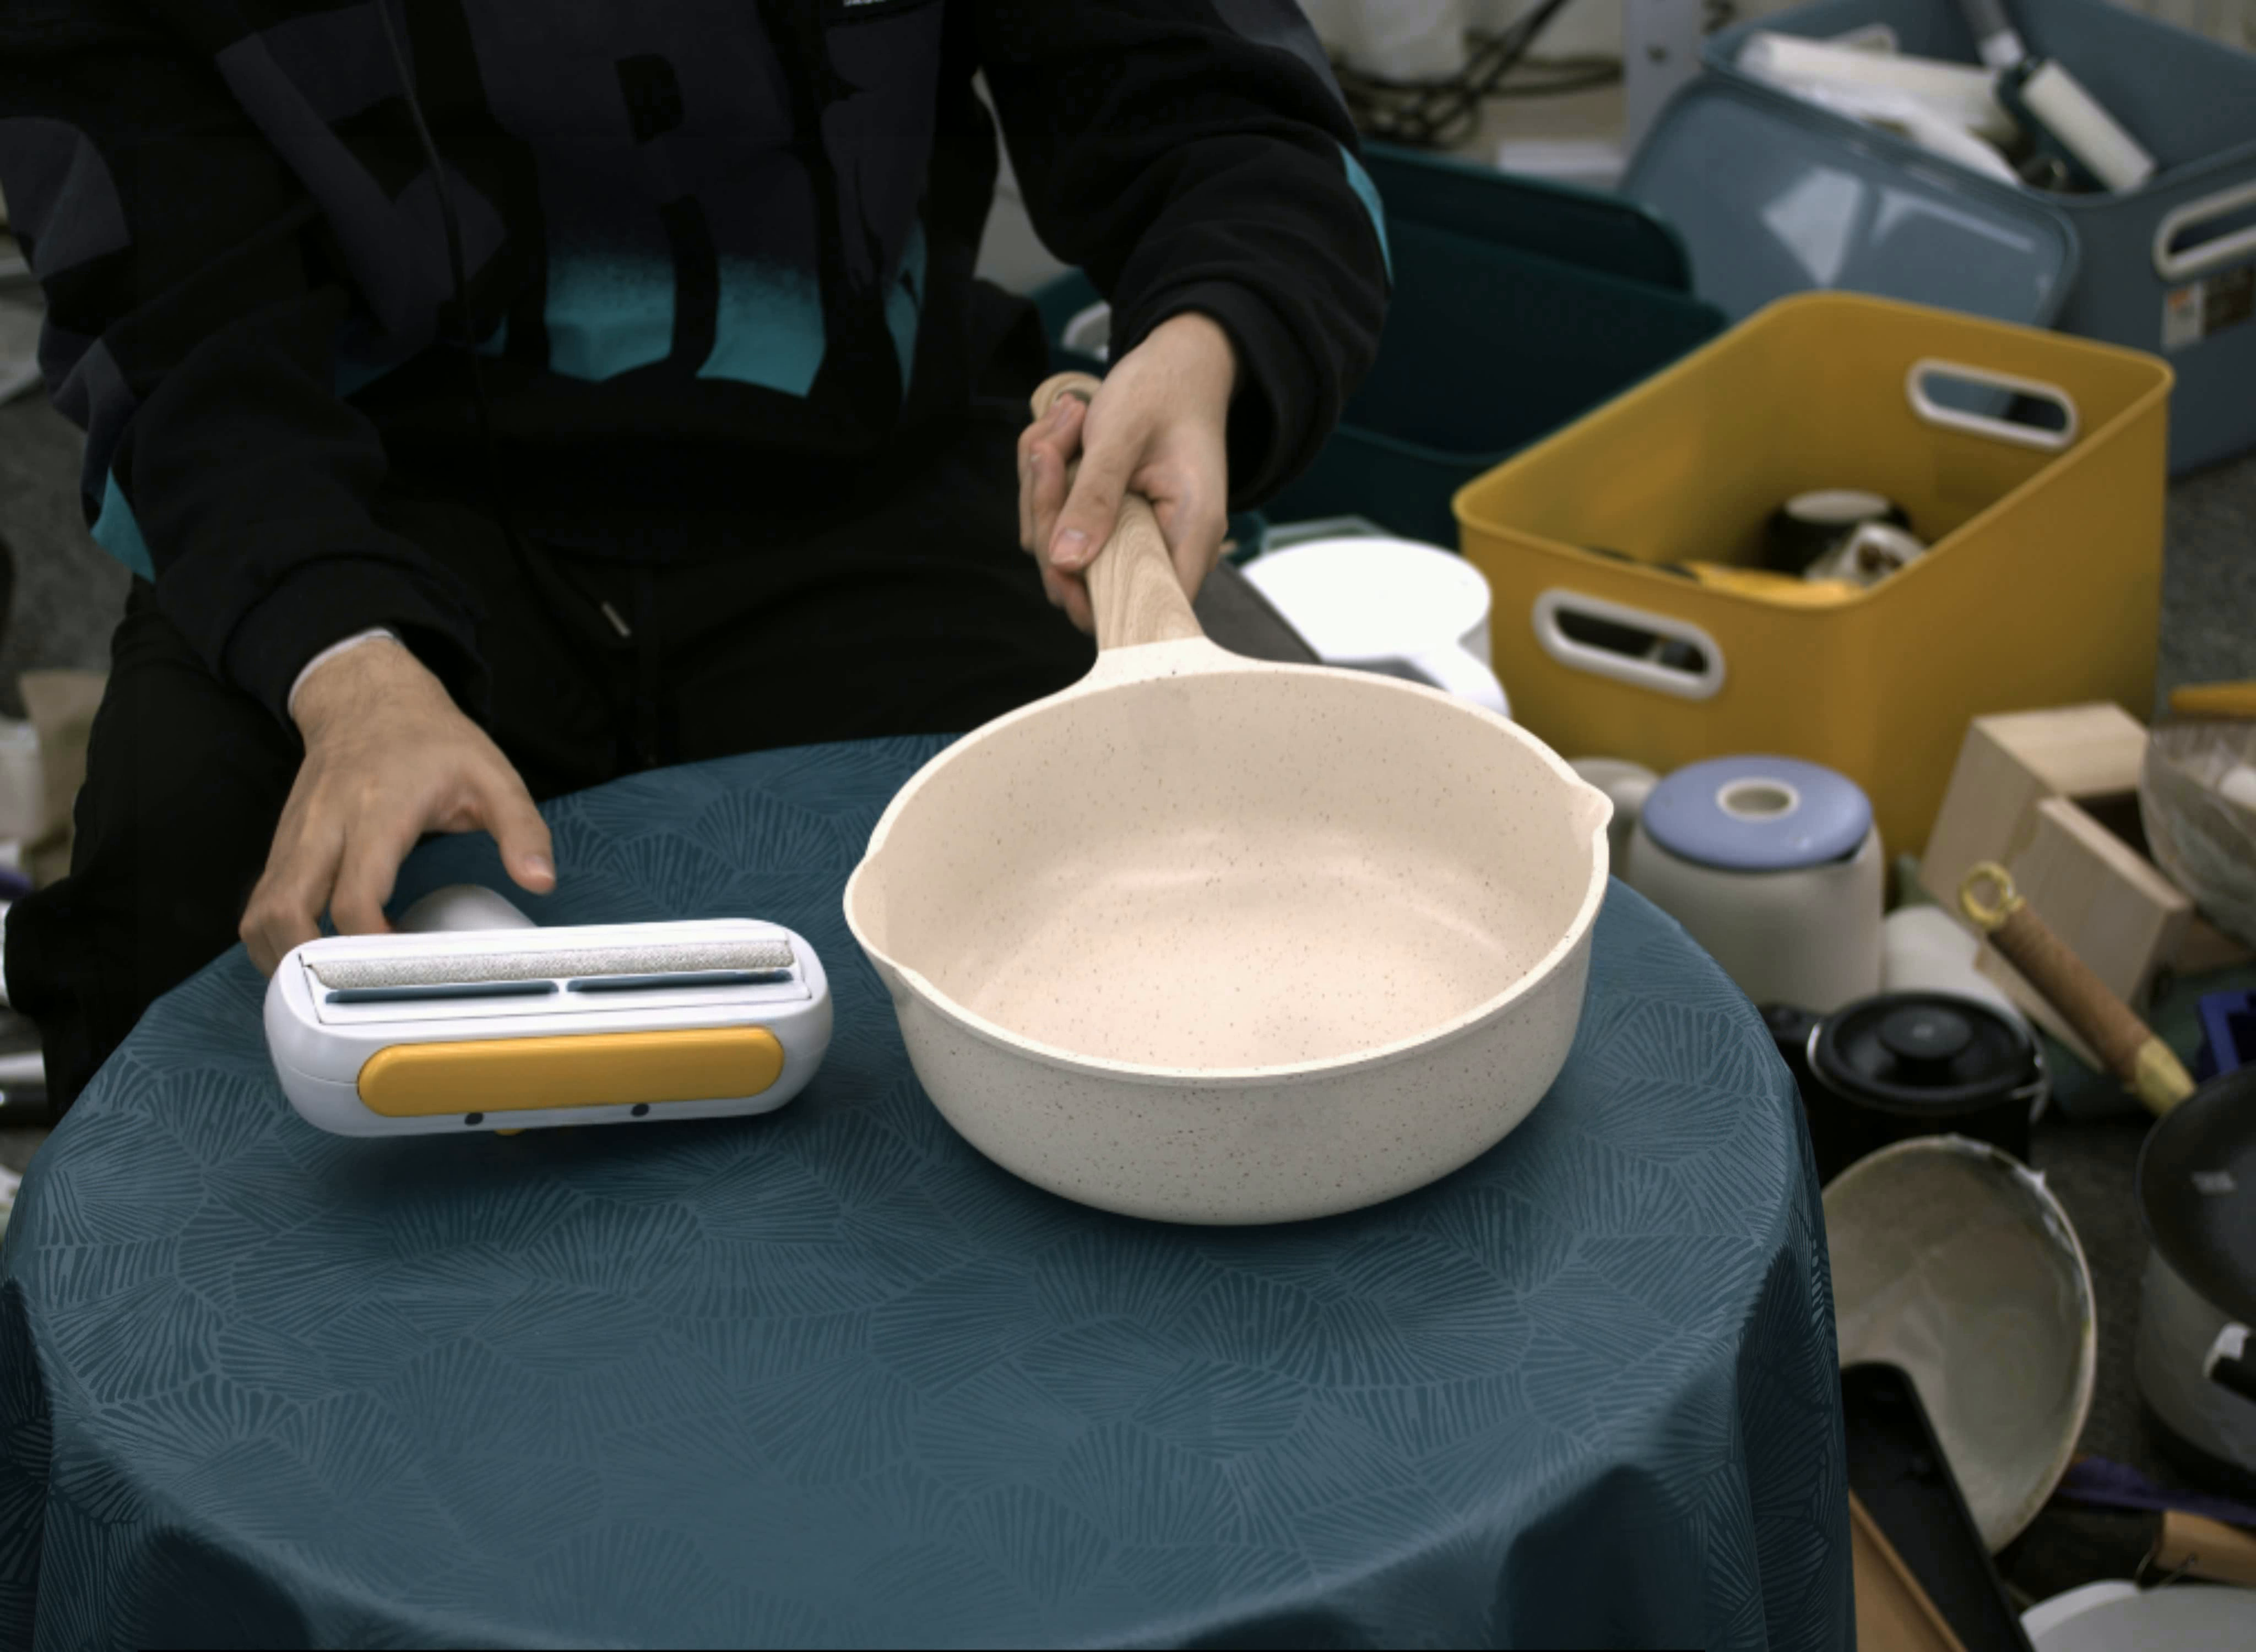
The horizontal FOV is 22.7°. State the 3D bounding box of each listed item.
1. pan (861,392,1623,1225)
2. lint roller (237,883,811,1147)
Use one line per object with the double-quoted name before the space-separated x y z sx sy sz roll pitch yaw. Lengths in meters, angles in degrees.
"pan" 0.023 -0.010 1.975 0.263 0.101 0.441 -10 33 -8
"lint roller" -0.217 0.052 1.945 0.193 0.073 0.194 -4 25 -15
